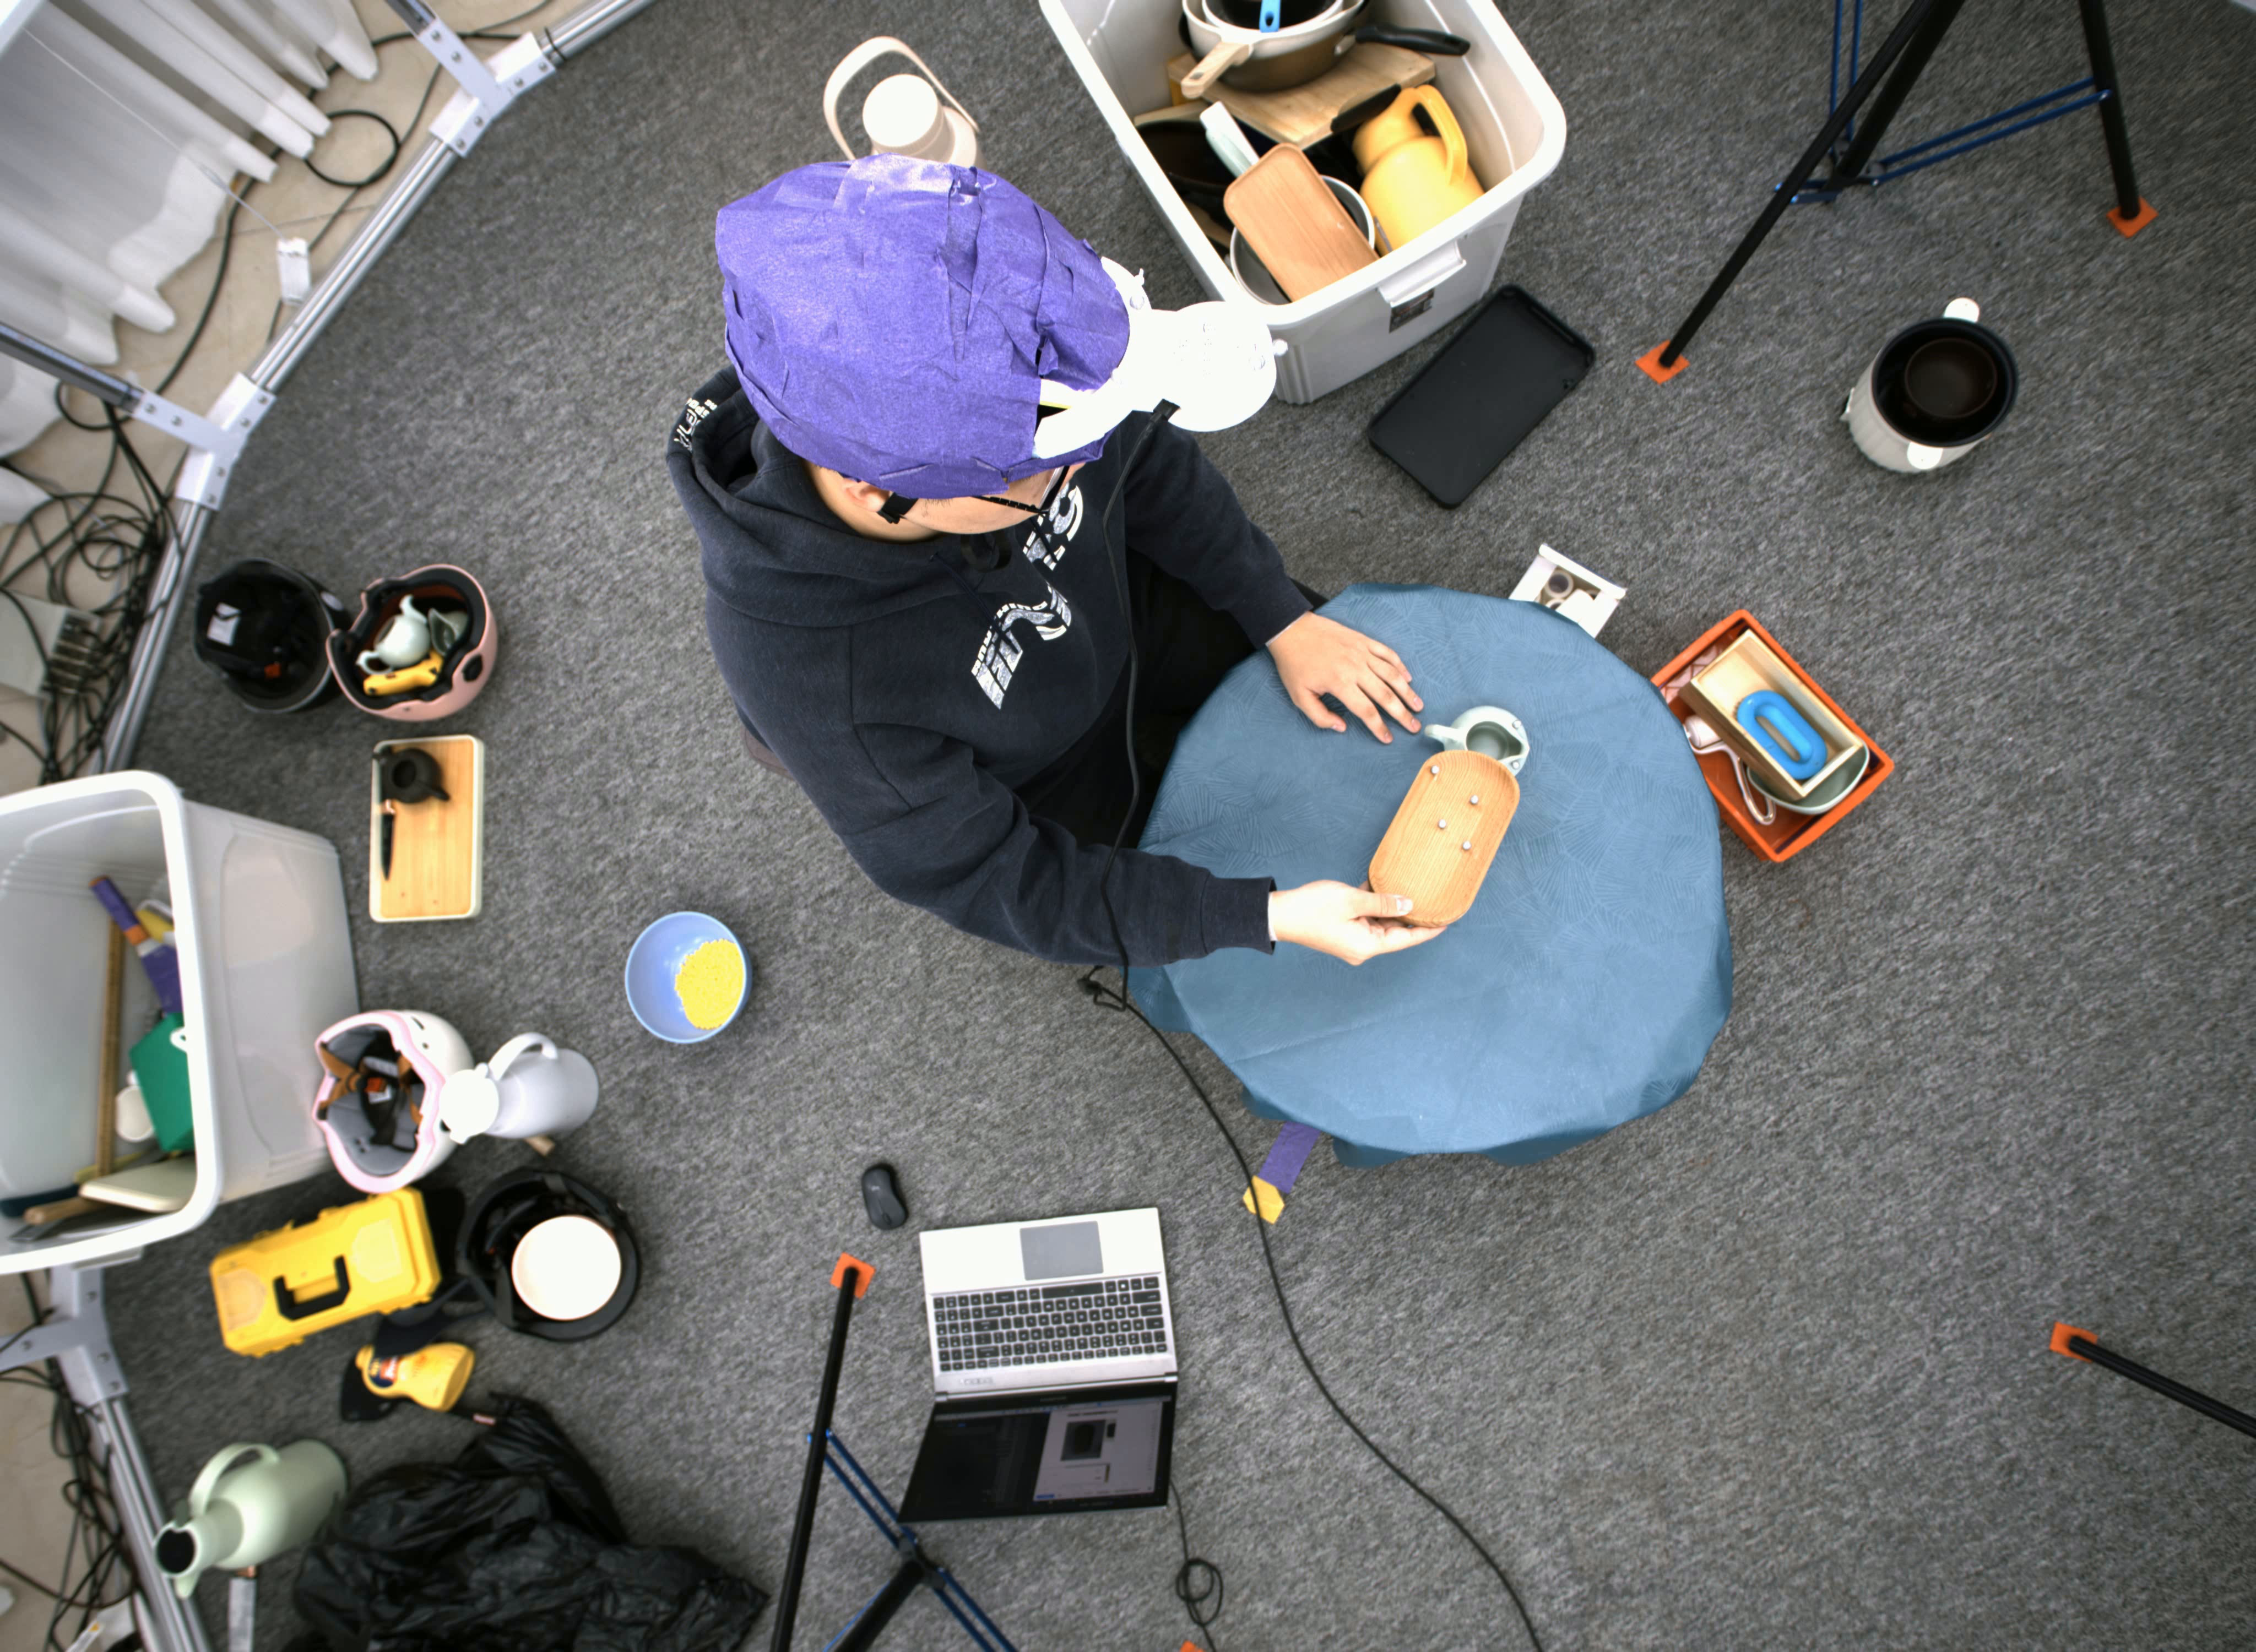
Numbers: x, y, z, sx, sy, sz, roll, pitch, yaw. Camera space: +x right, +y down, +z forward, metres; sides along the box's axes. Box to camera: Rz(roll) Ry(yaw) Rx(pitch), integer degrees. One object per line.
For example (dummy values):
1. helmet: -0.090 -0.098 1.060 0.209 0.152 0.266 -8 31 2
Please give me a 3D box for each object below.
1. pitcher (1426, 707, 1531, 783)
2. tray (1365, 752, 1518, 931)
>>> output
1. pitcher: 0.363 -0.088 1.425 0.108 0.060 0.086 12 87 14
2. tray: 0.302 0.010 1.321 0.101 0.021 0.226 22 57 19
